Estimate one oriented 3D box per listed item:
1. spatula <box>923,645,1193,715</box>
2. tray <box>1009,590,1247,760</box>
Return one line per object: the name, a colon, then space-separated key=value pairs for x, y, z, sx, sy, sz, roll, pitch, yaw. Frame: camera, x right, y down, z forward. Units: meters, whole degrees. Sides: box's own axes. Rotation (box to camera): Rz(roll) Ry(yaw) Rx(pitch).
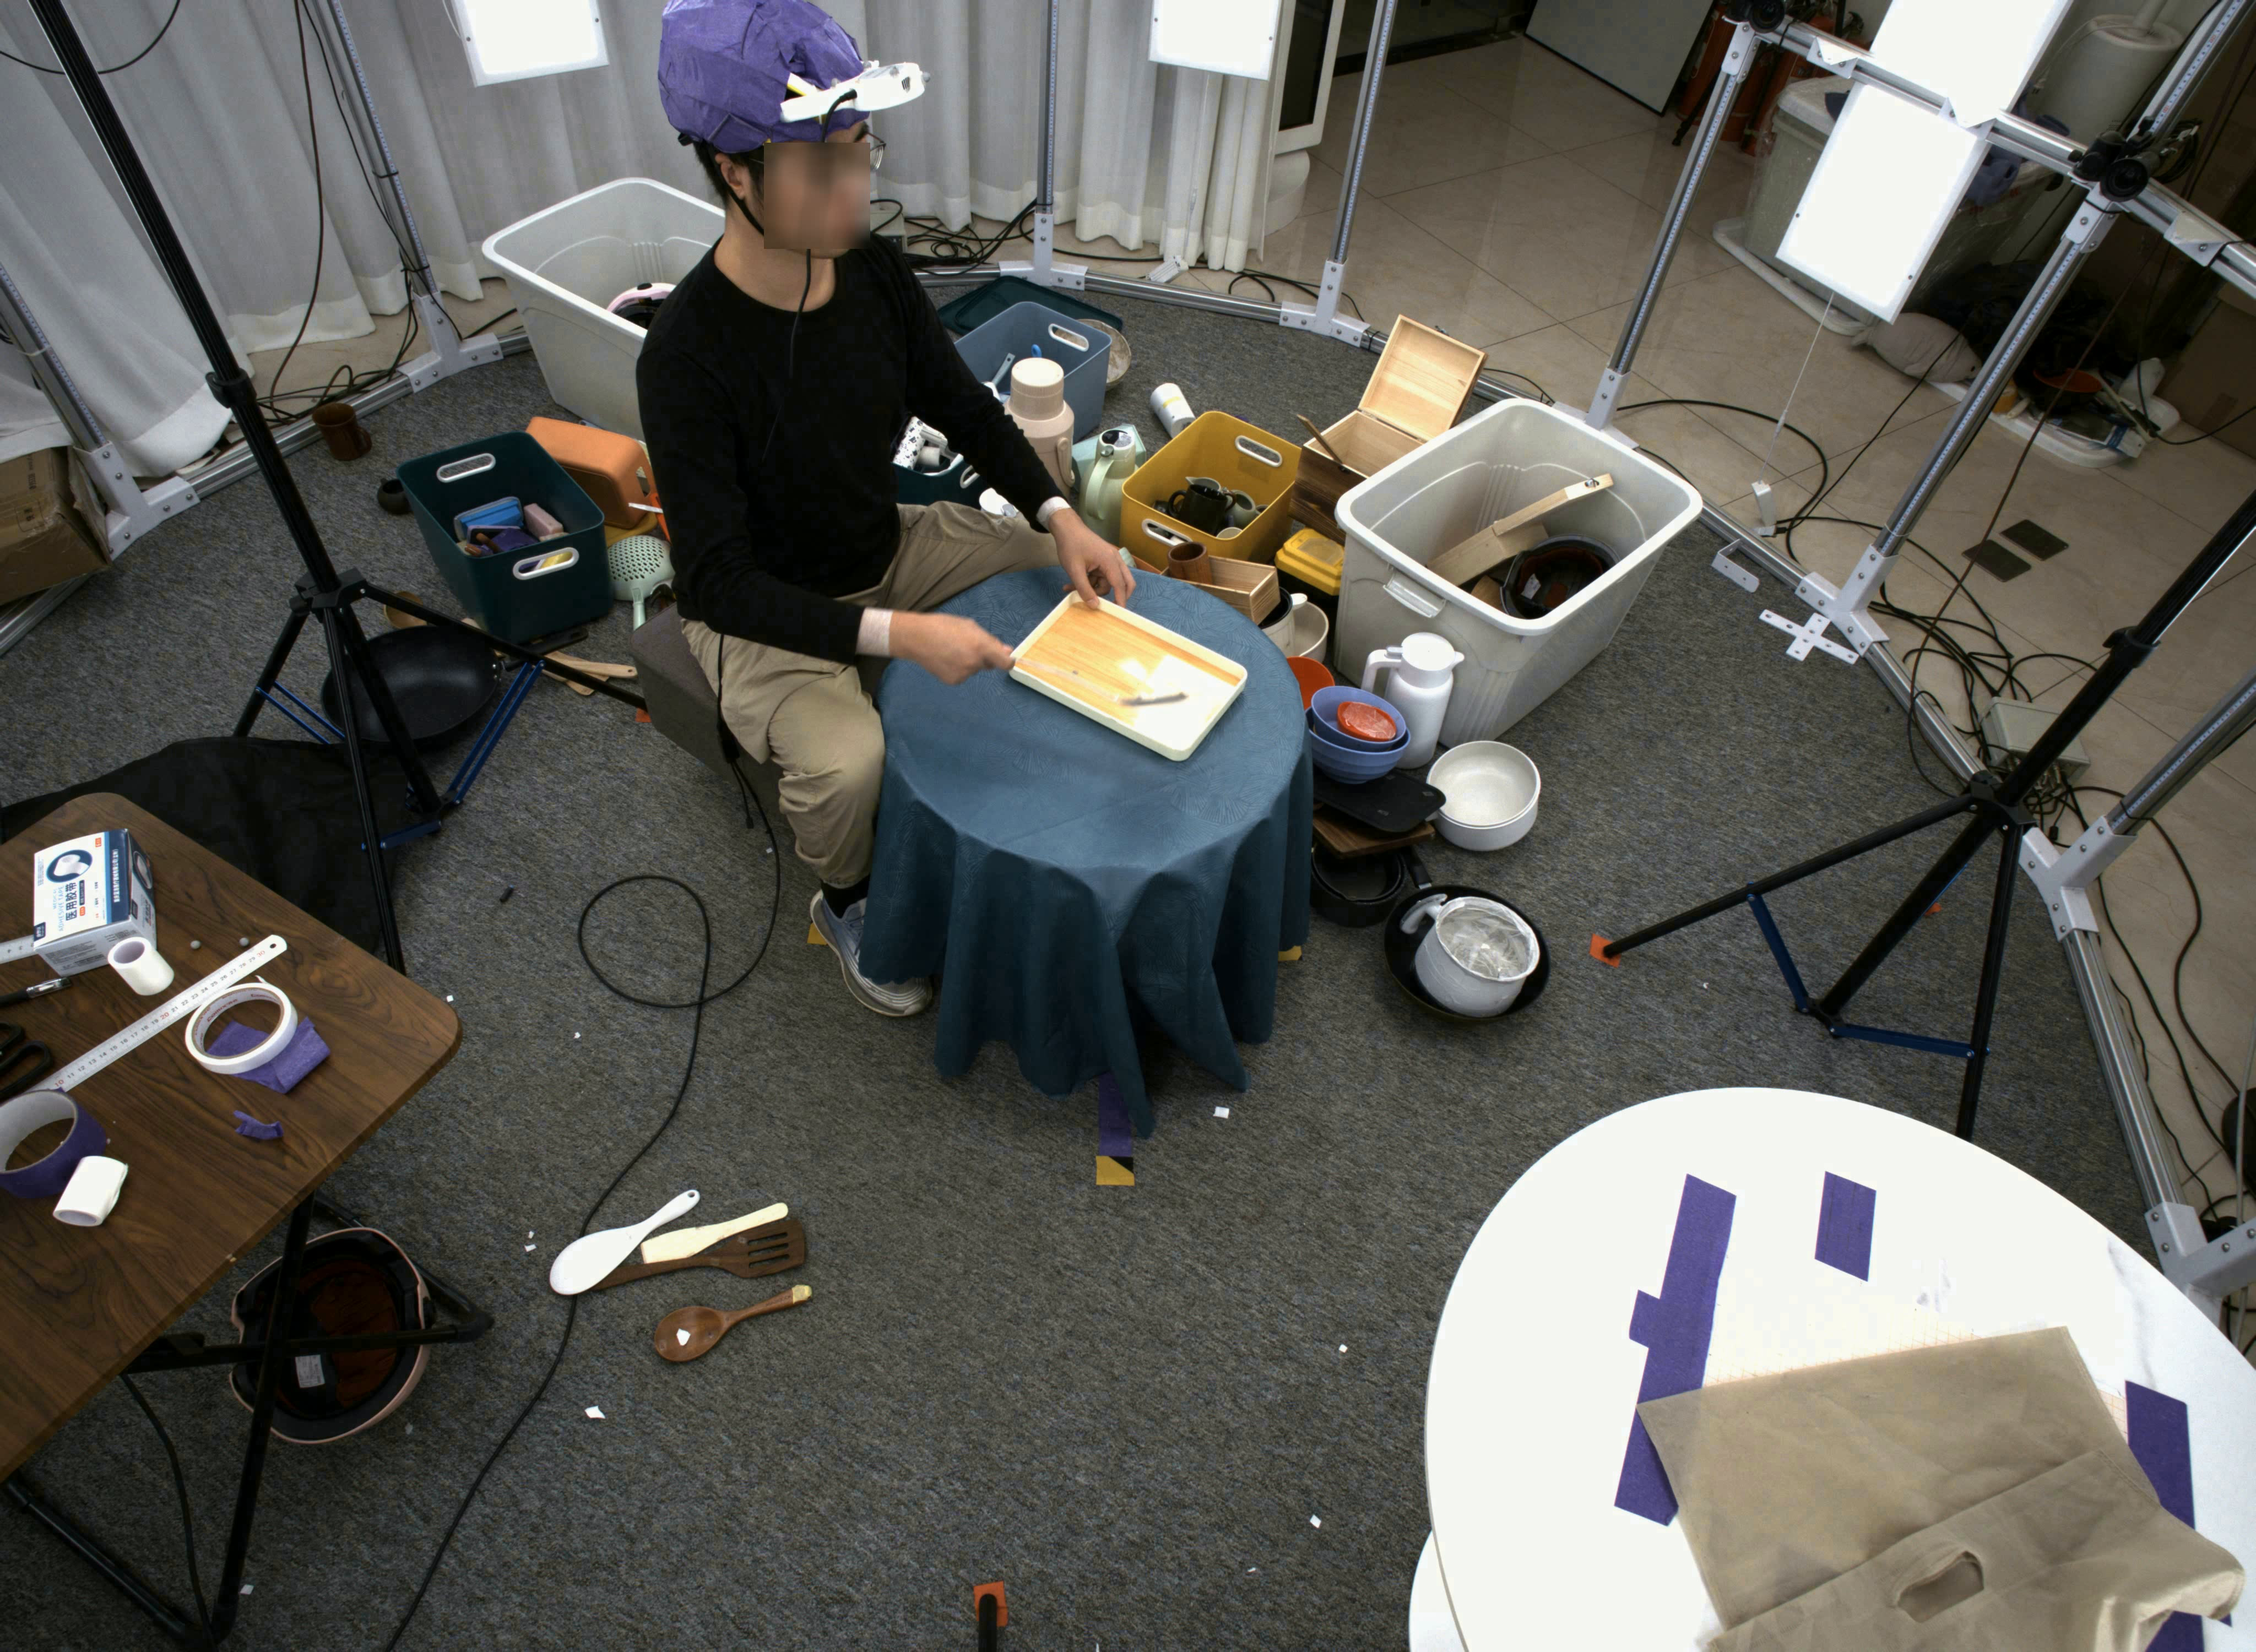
spatula: x=-0.095 y=-0.196 z=1.669 sx=0.366 sy=0.044 sz=0.099 roll=19 pitch=9 yaw=7
tray: x=0.000 y=-0.221 z=1.834 sx=0.303 sy=0.027 sz=0.194 roll=29 pitch=56 yaw=18
